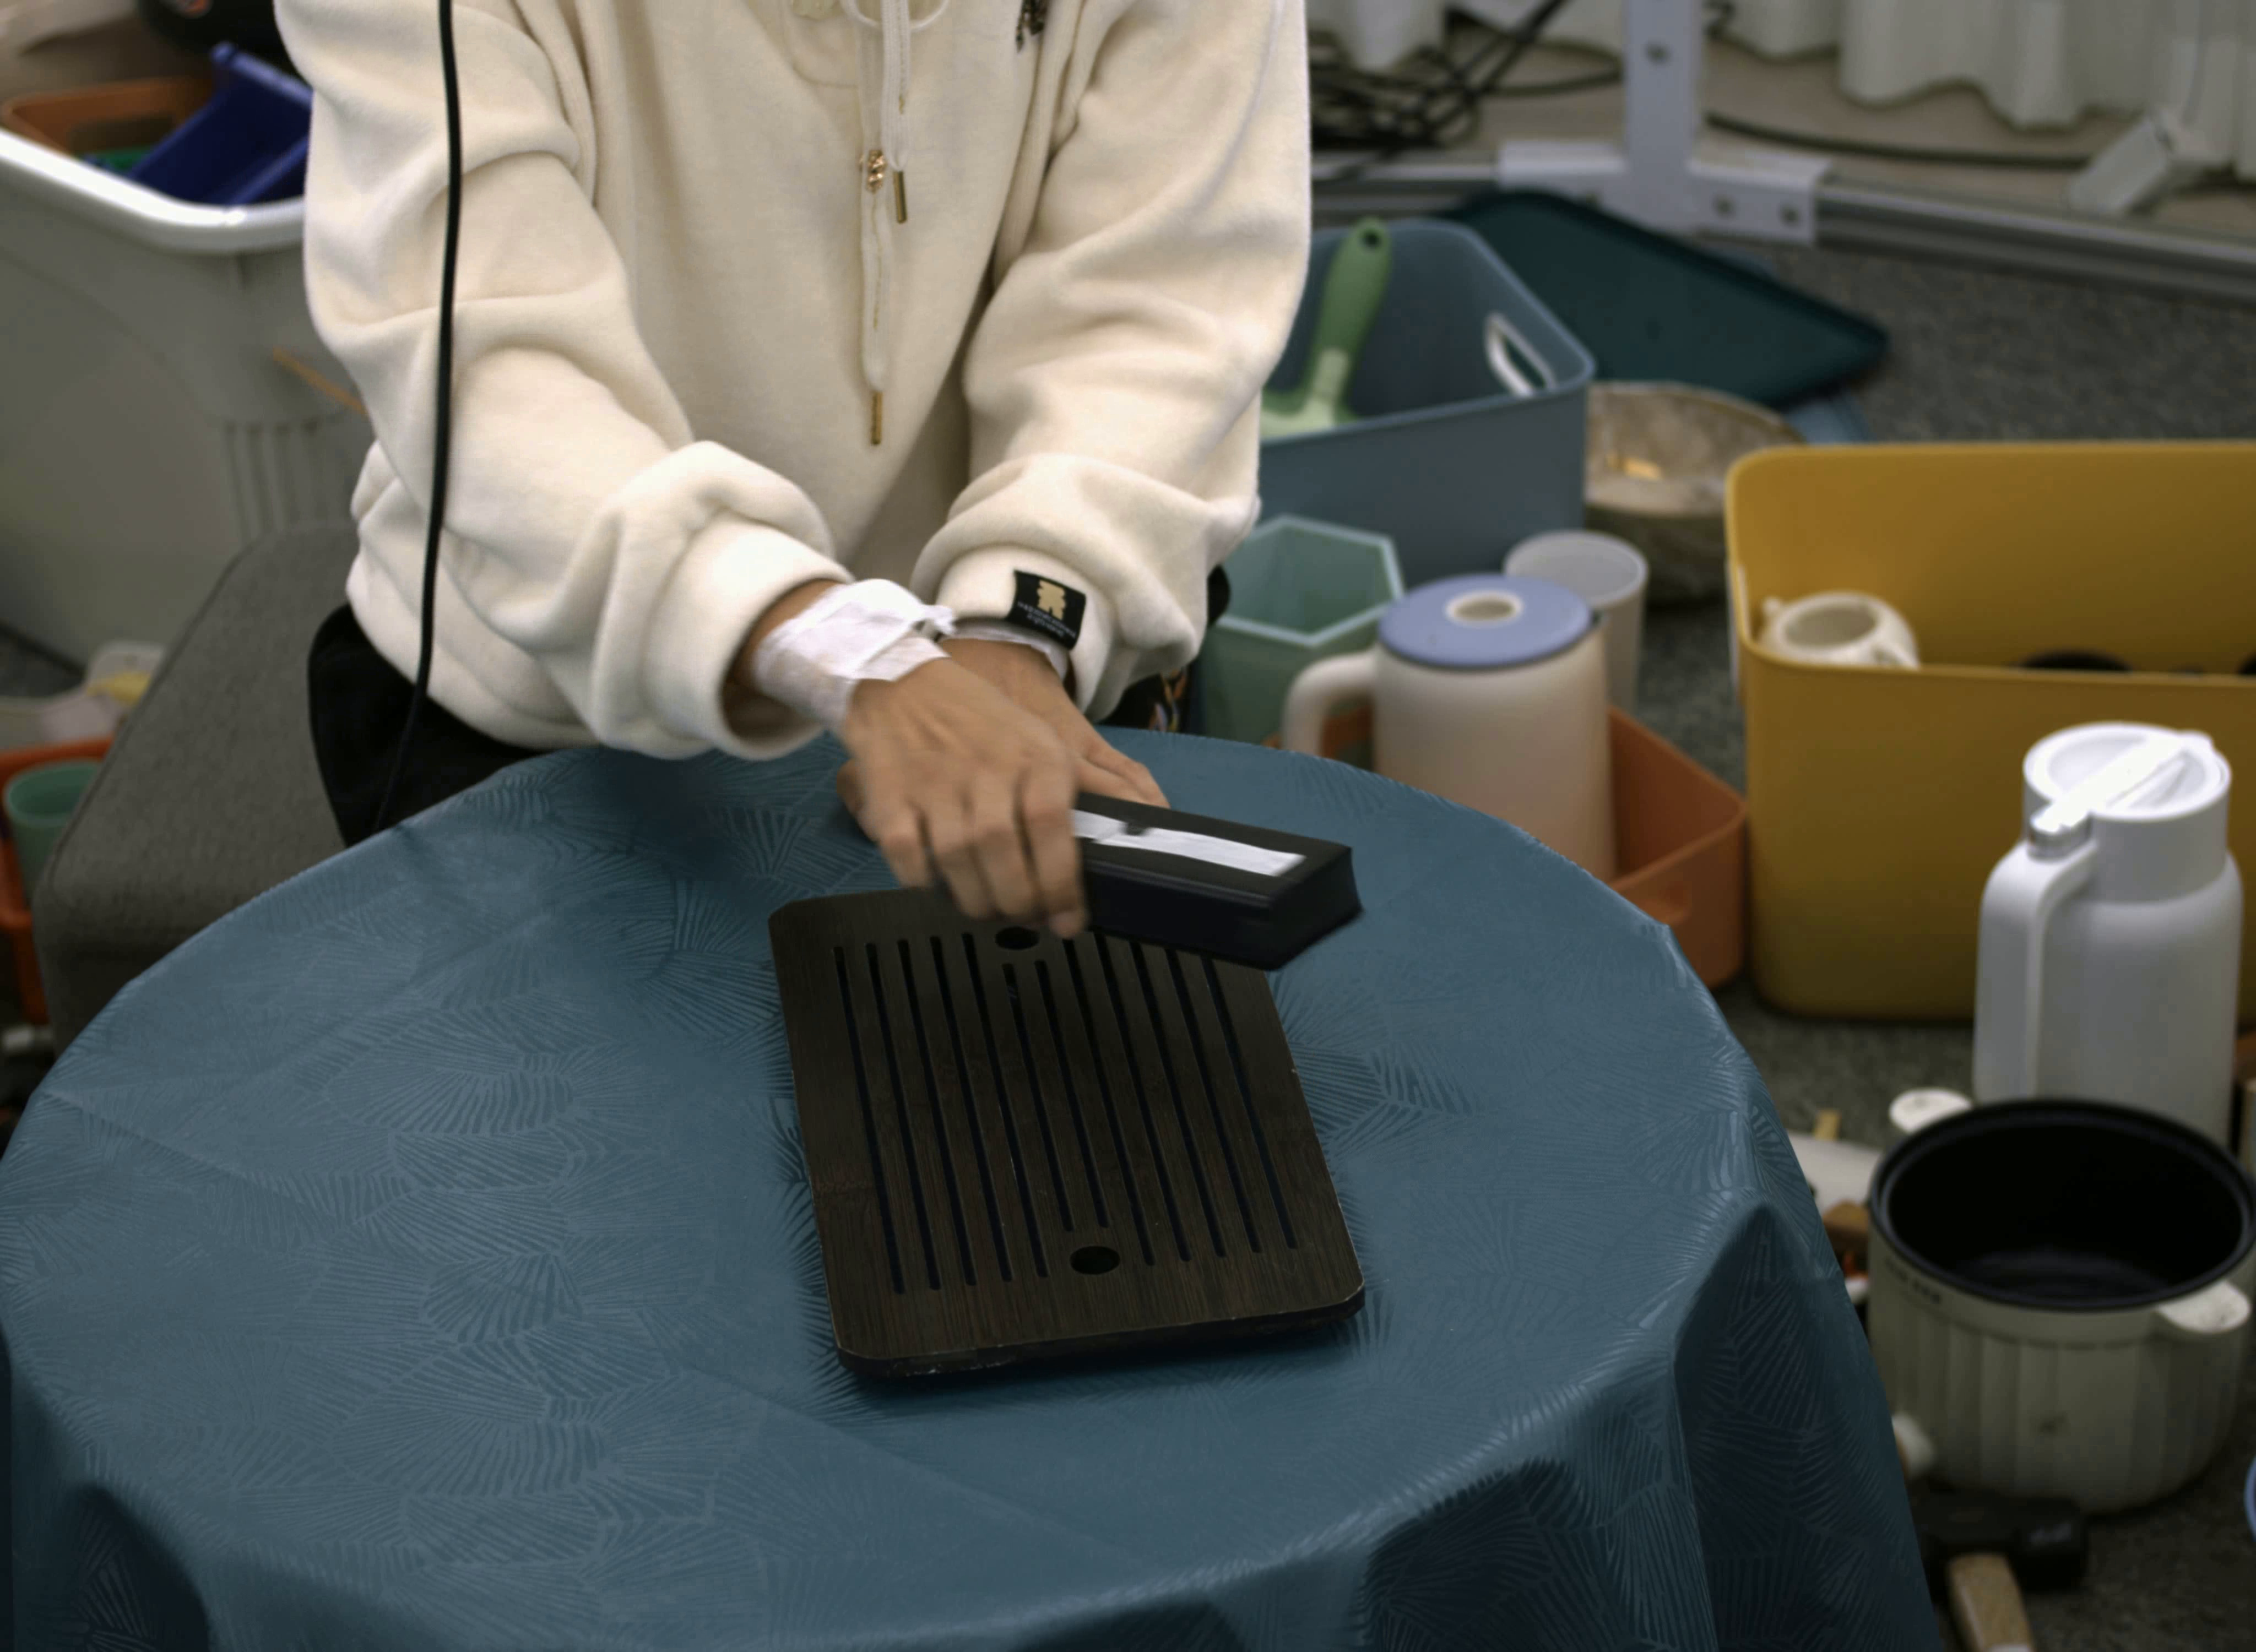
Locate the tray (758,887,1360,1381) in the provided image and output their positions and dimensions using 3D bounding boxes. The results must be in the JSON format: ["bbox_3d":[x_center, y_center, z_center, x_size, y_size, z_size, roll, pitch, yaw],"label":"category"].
[{"bbox_3d":[-0.029,0.097,1.892,0.169,0.018,0.310,-6,28,-6],"label":"tray"}]

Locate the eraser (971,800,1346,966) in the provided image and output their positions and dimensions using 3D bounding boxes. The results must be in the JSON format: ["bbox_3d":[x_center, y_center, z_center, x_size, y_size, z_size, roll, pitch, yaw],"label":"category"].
[{"bbox_3d":[0.011,0.019,1.915,0.124,0.030,0.054,10,25,35],"label":"eraser"}]
